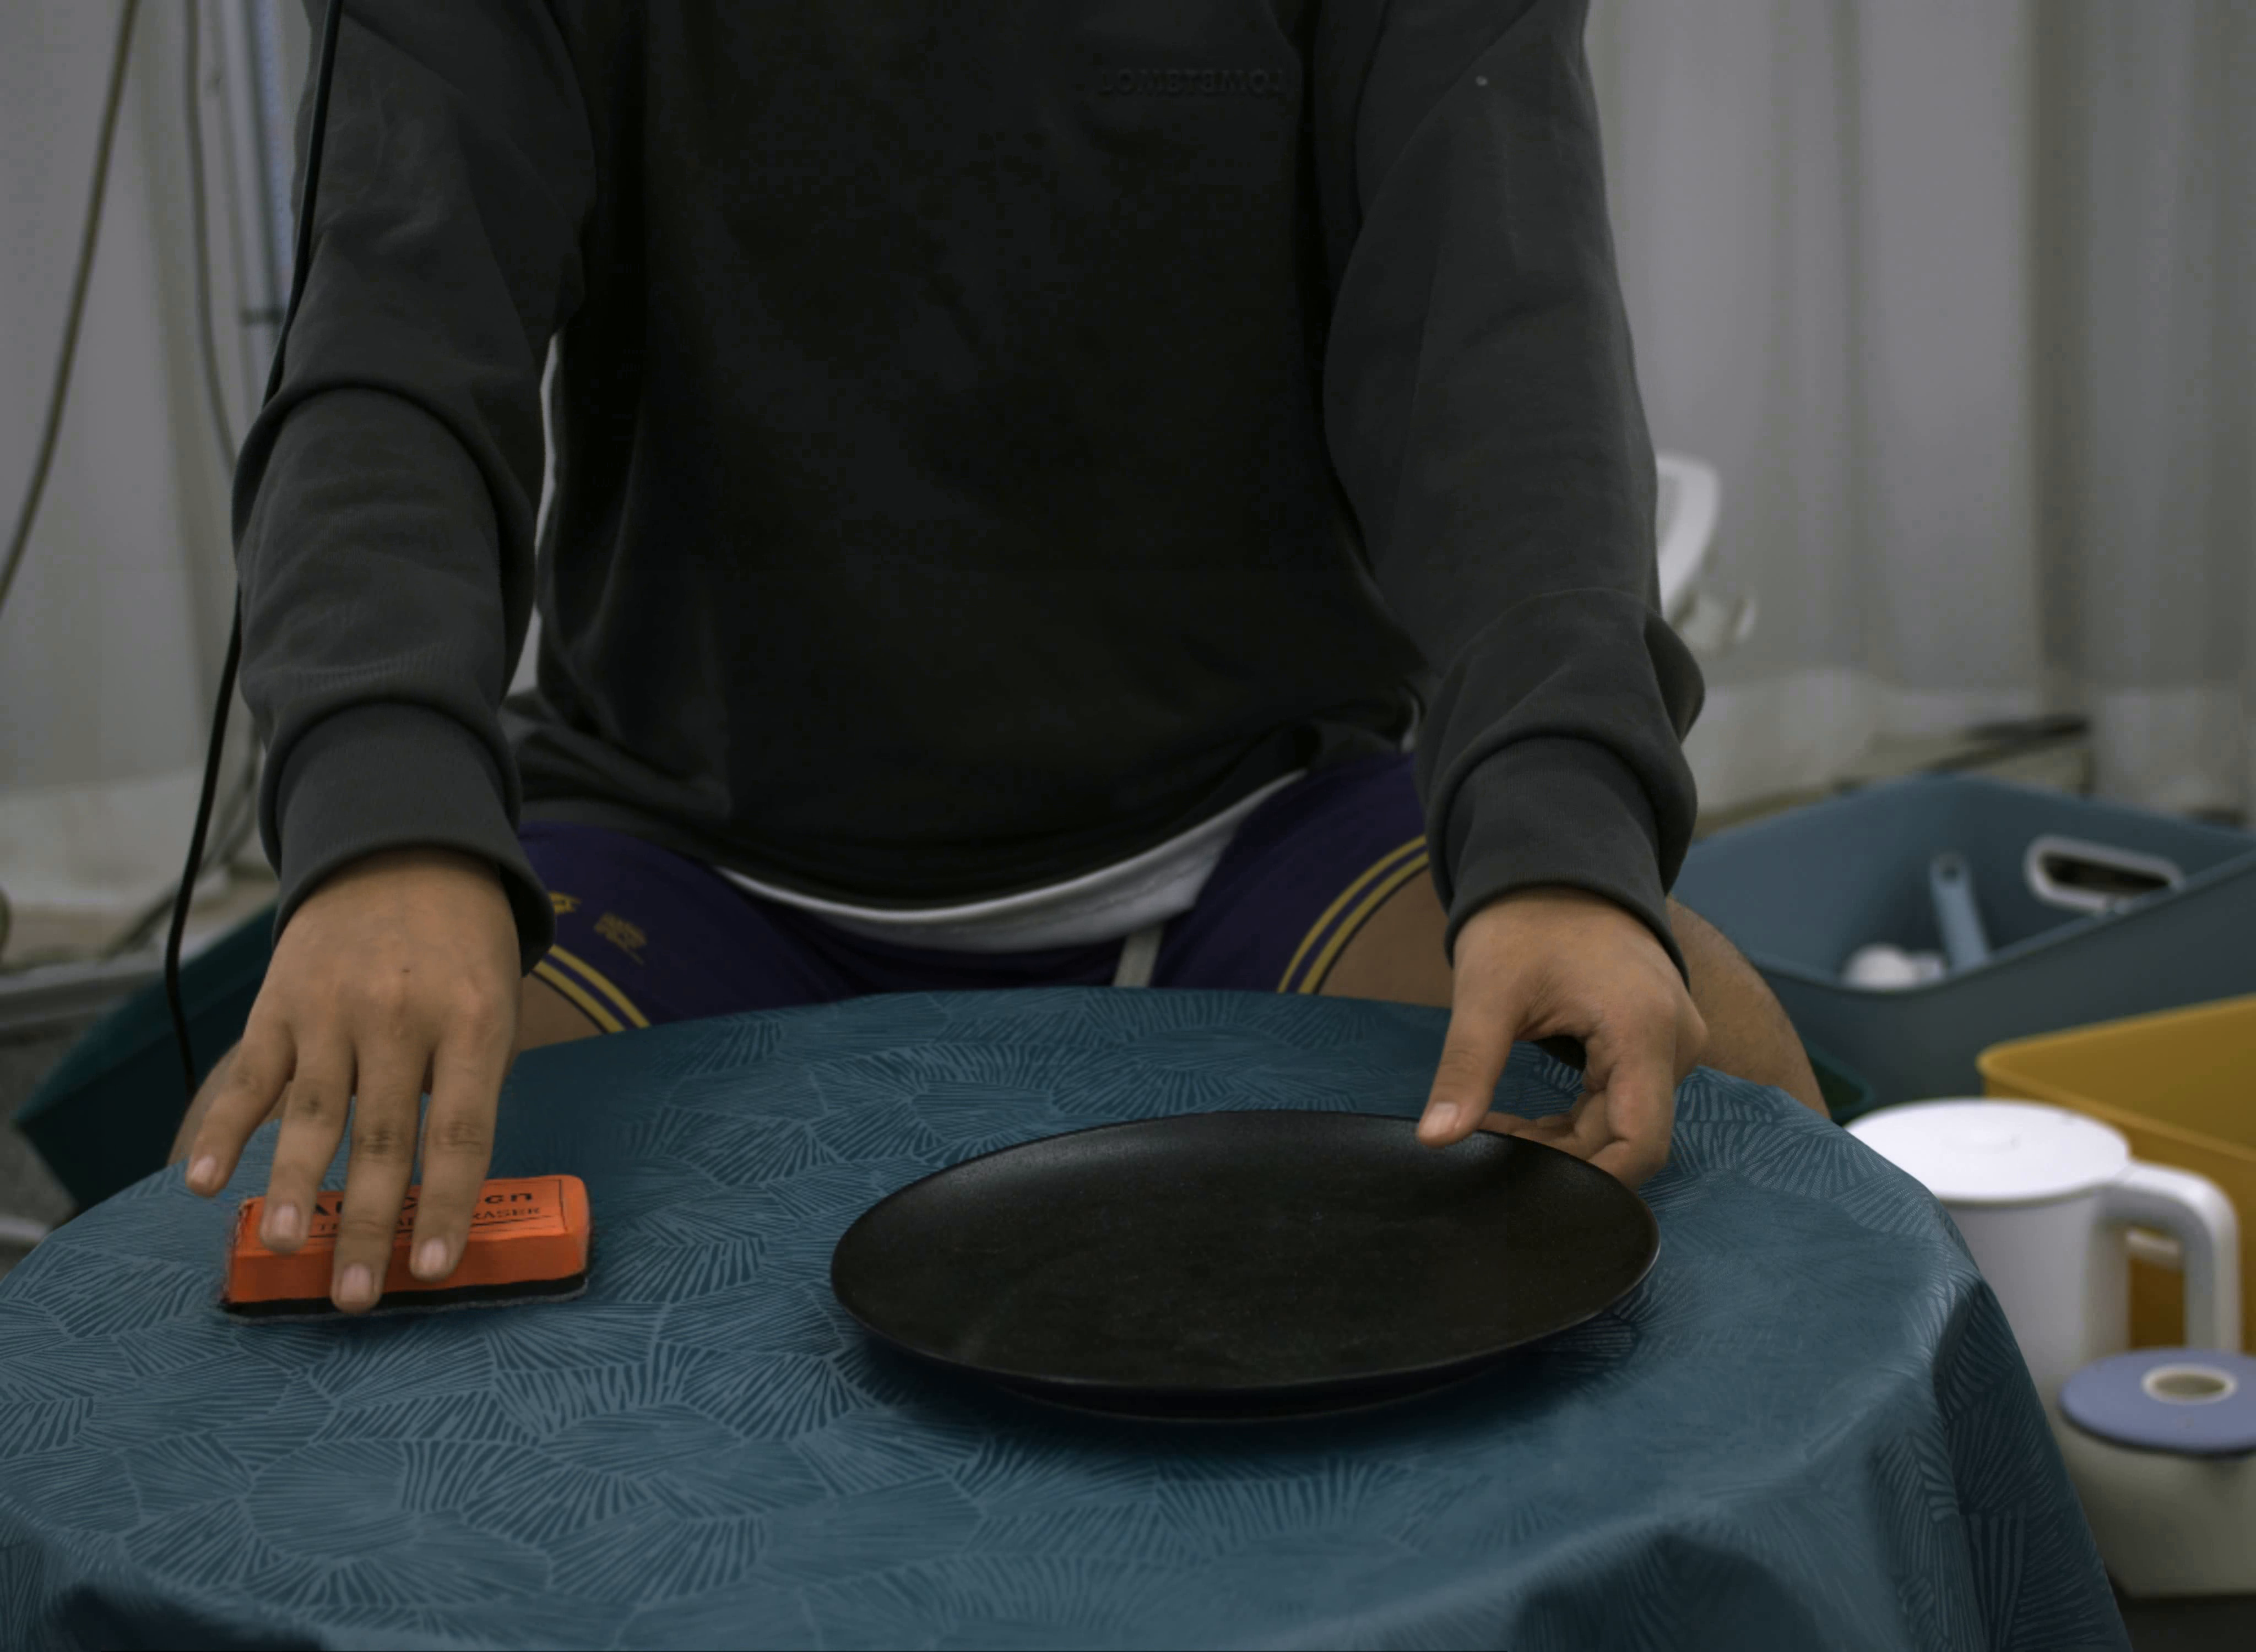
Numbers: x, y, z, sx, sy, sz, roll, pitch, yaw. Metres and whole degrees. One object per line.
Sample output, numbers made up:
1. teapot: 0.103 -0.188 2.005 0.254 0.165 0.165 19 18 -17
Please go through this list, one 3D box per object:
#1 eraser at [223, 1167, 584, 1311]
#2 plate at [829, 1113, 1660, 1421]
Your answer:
1. eraser: -0.219 0.125 1.662 0.107 0.023 0.059 -3 16 -5
2. plate: 0.034 0.131 1.602 0.243 0.023 0.246 -3 15 1
